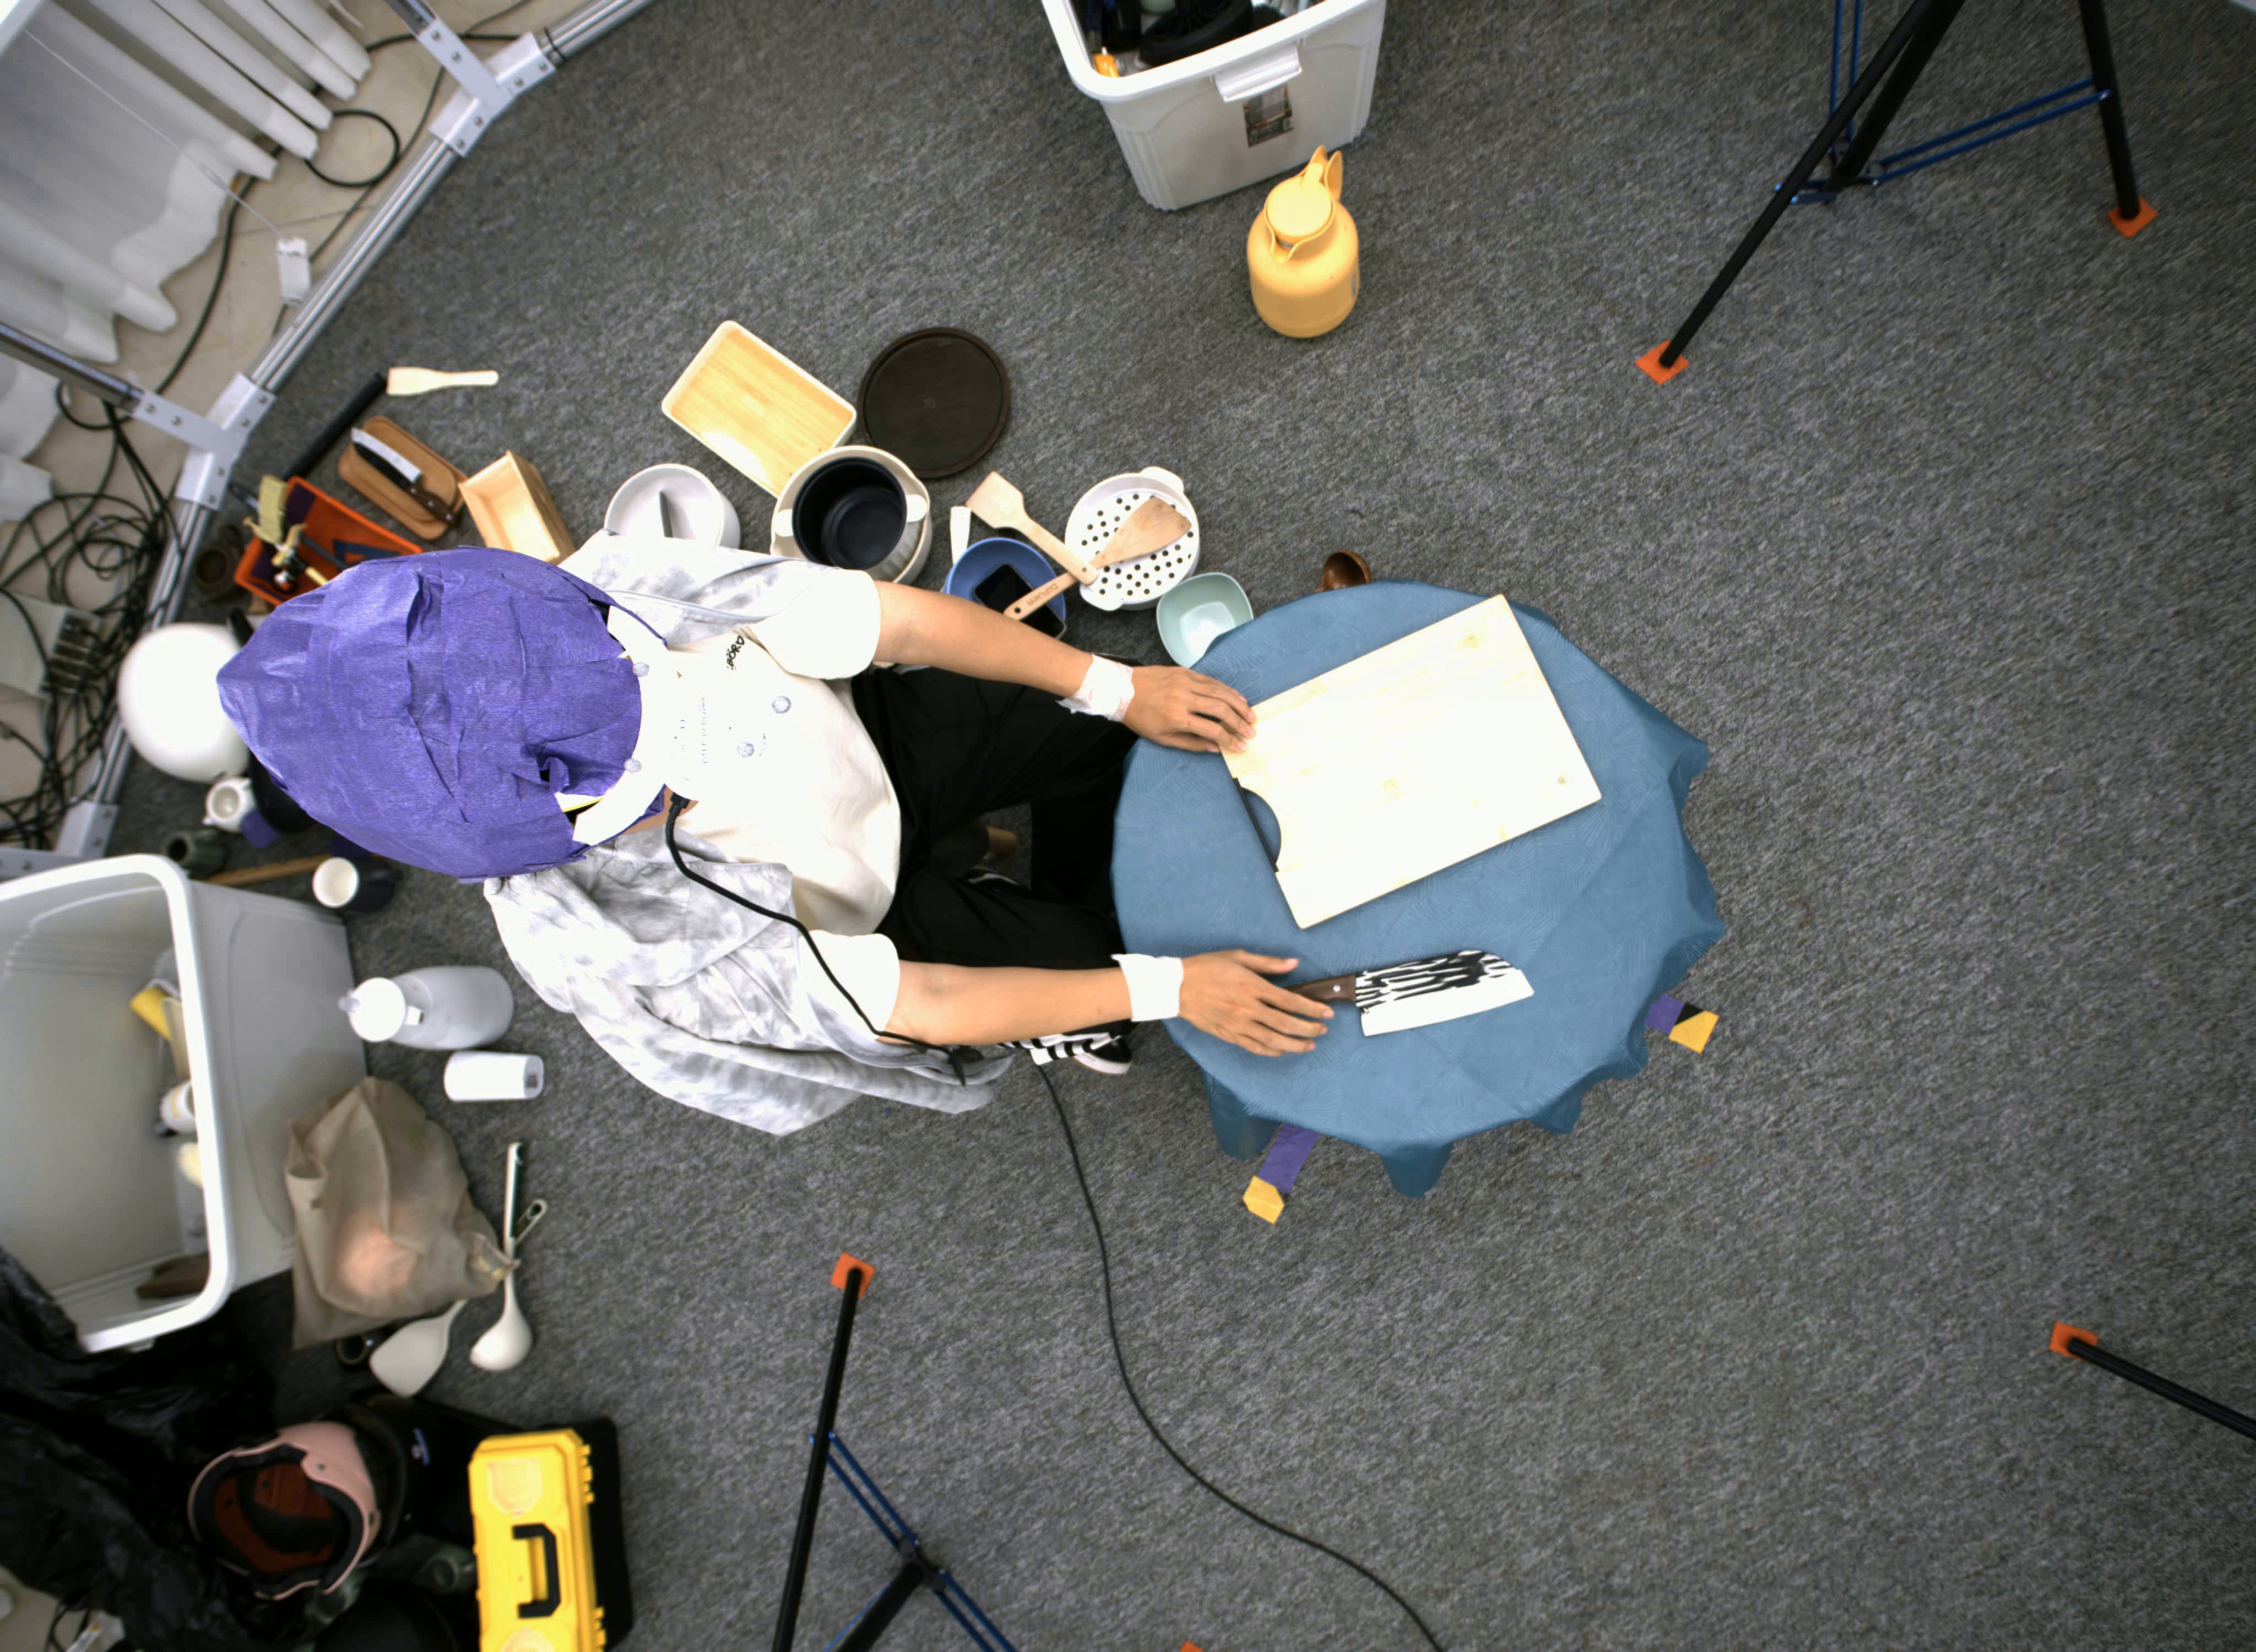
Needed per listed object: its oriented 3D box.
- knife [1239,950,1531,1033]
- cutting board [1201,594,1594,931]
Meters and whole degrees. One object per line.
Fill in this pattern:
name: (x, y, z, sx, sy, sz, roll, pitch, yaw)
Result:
knife: (0.267, 0.177, 1.443, 0.301, 0.024, 0.068, -11, 88, 7)
cutting board: (0.283, -0.068, 1.455, 0.351, 0.023, 0.249, -25, 82, 9)
